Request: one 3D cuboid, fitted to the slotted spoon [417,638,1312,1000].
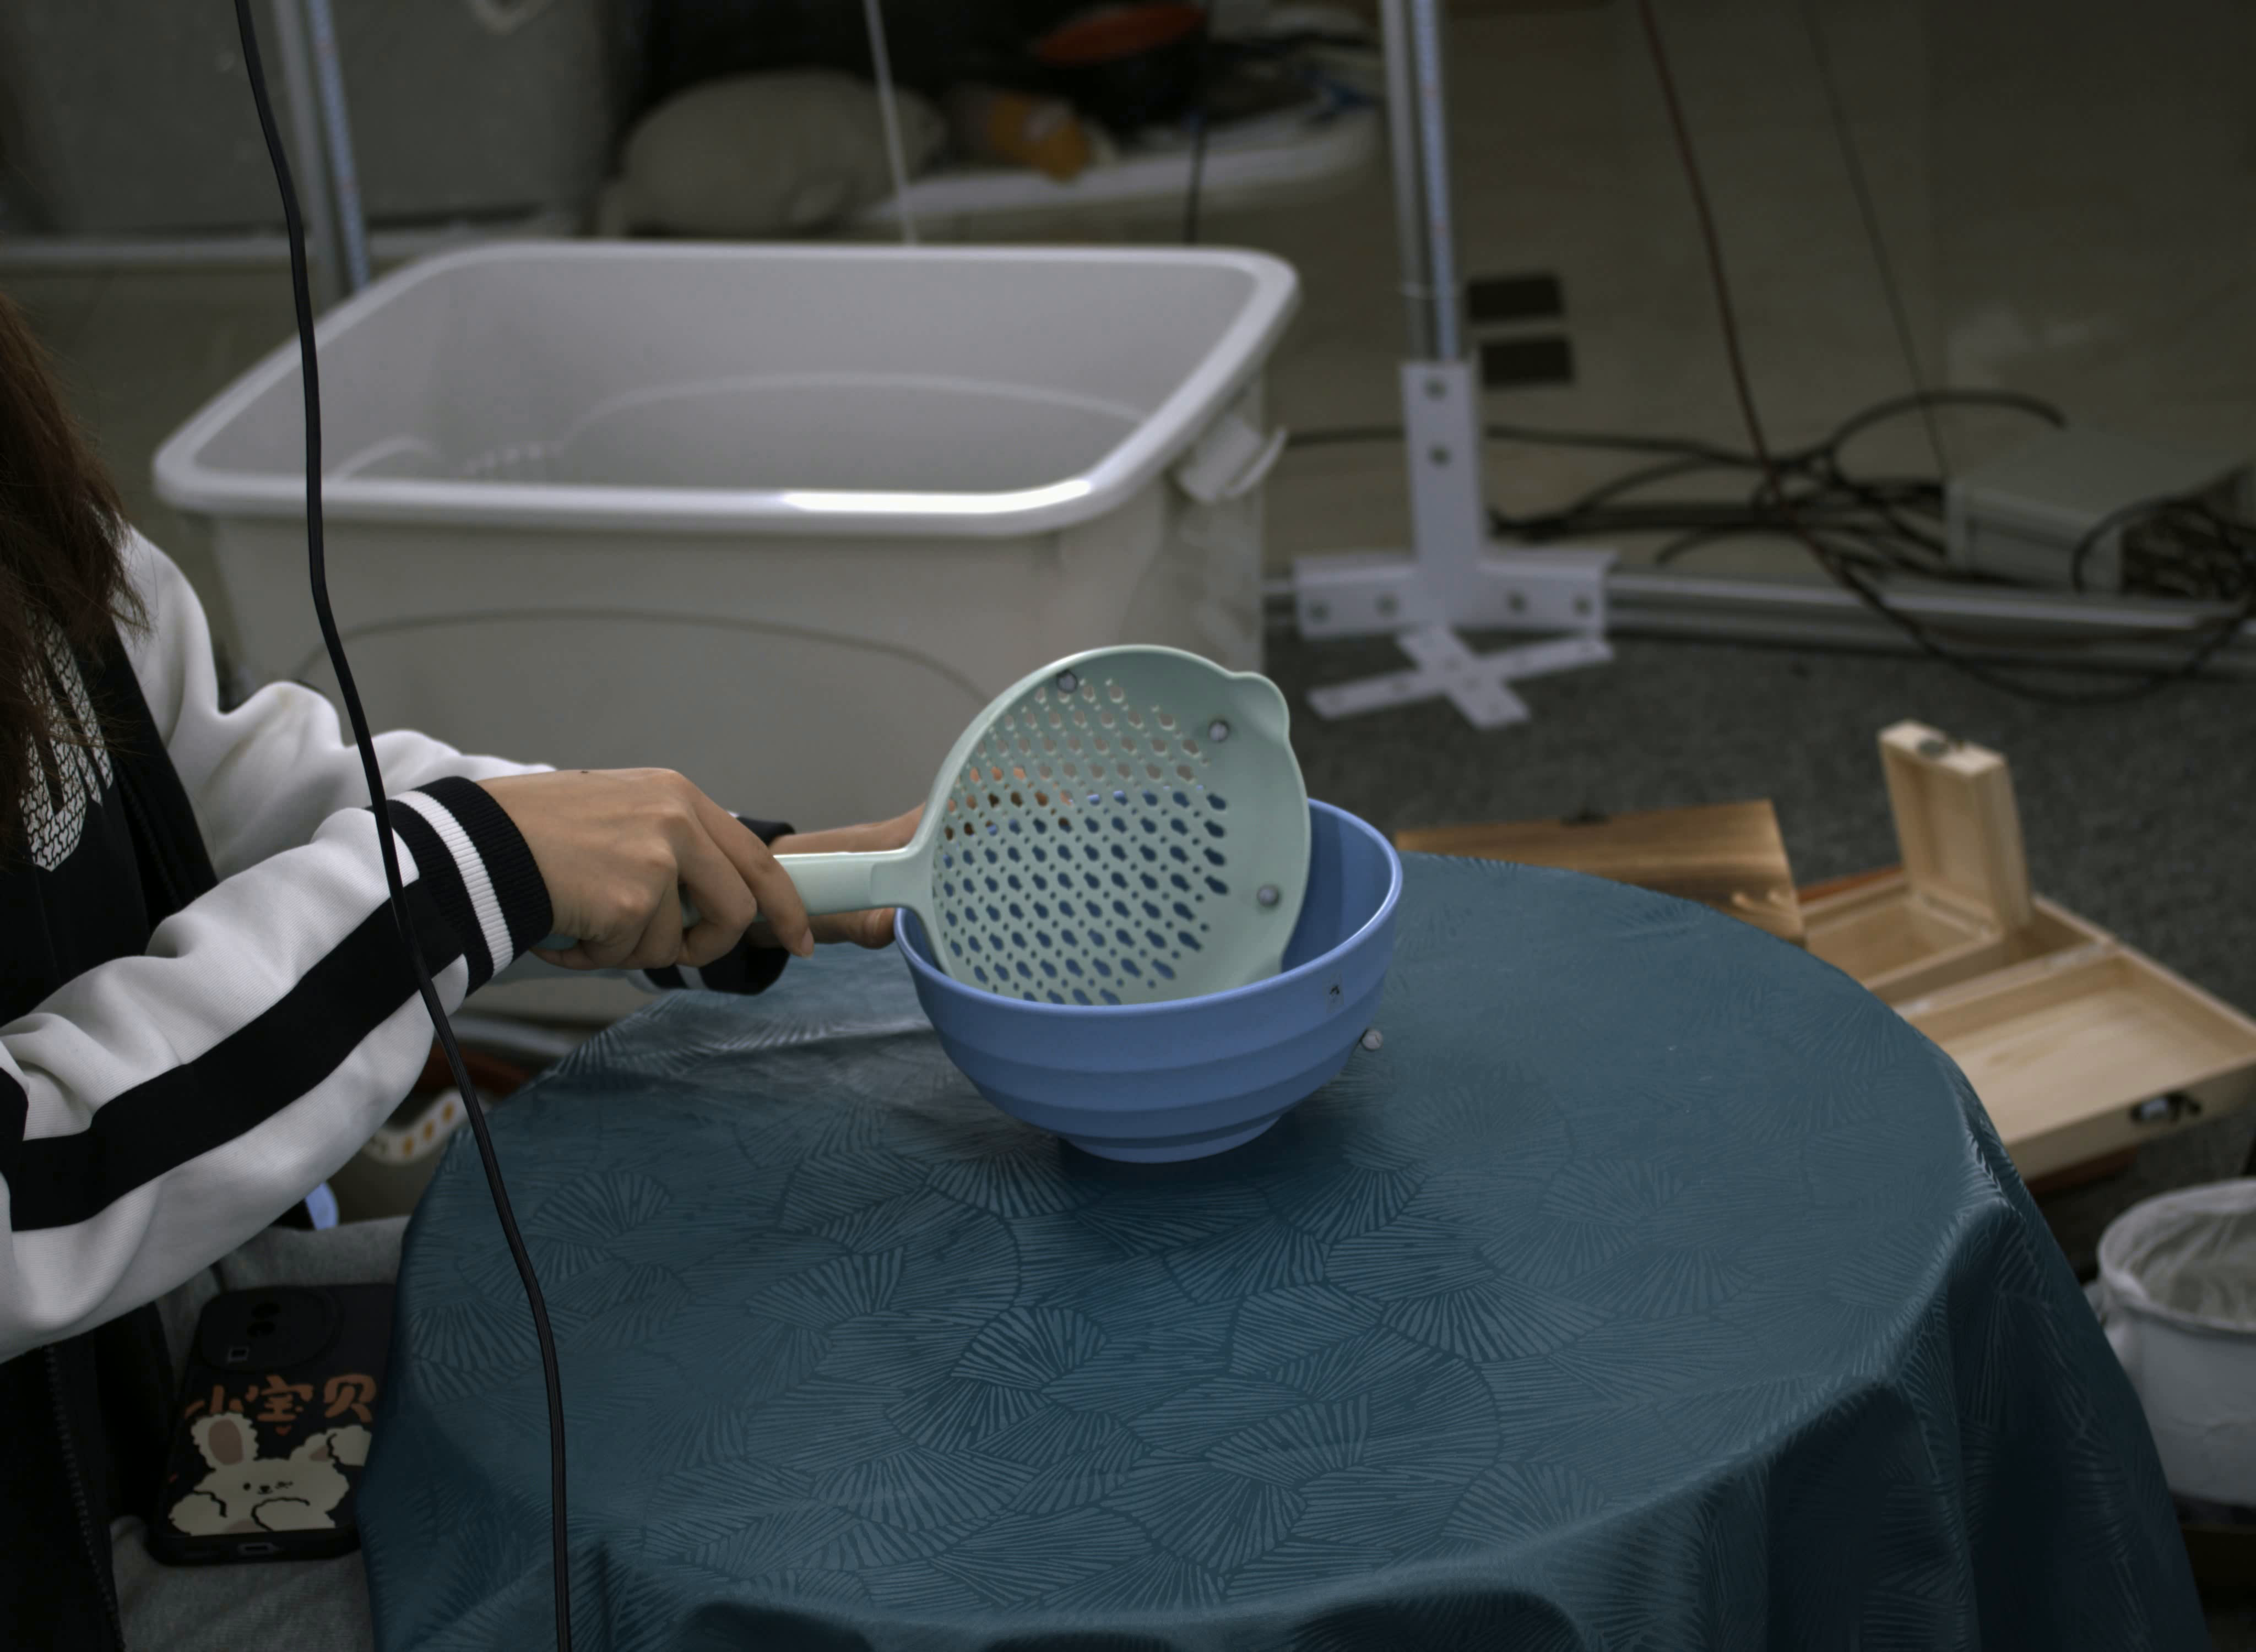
[{"bbox_3d":[-0.093,0.016,2.125,0.358,0.171,0.075,-6,13,-37],"label":"slotted spoon"}]

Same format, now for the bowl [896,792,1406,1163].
[{"bbox_3d":[0.013,0.067,2.184,0.196,0.097,0.193,-5,25,3],"label":"bowl"}]
